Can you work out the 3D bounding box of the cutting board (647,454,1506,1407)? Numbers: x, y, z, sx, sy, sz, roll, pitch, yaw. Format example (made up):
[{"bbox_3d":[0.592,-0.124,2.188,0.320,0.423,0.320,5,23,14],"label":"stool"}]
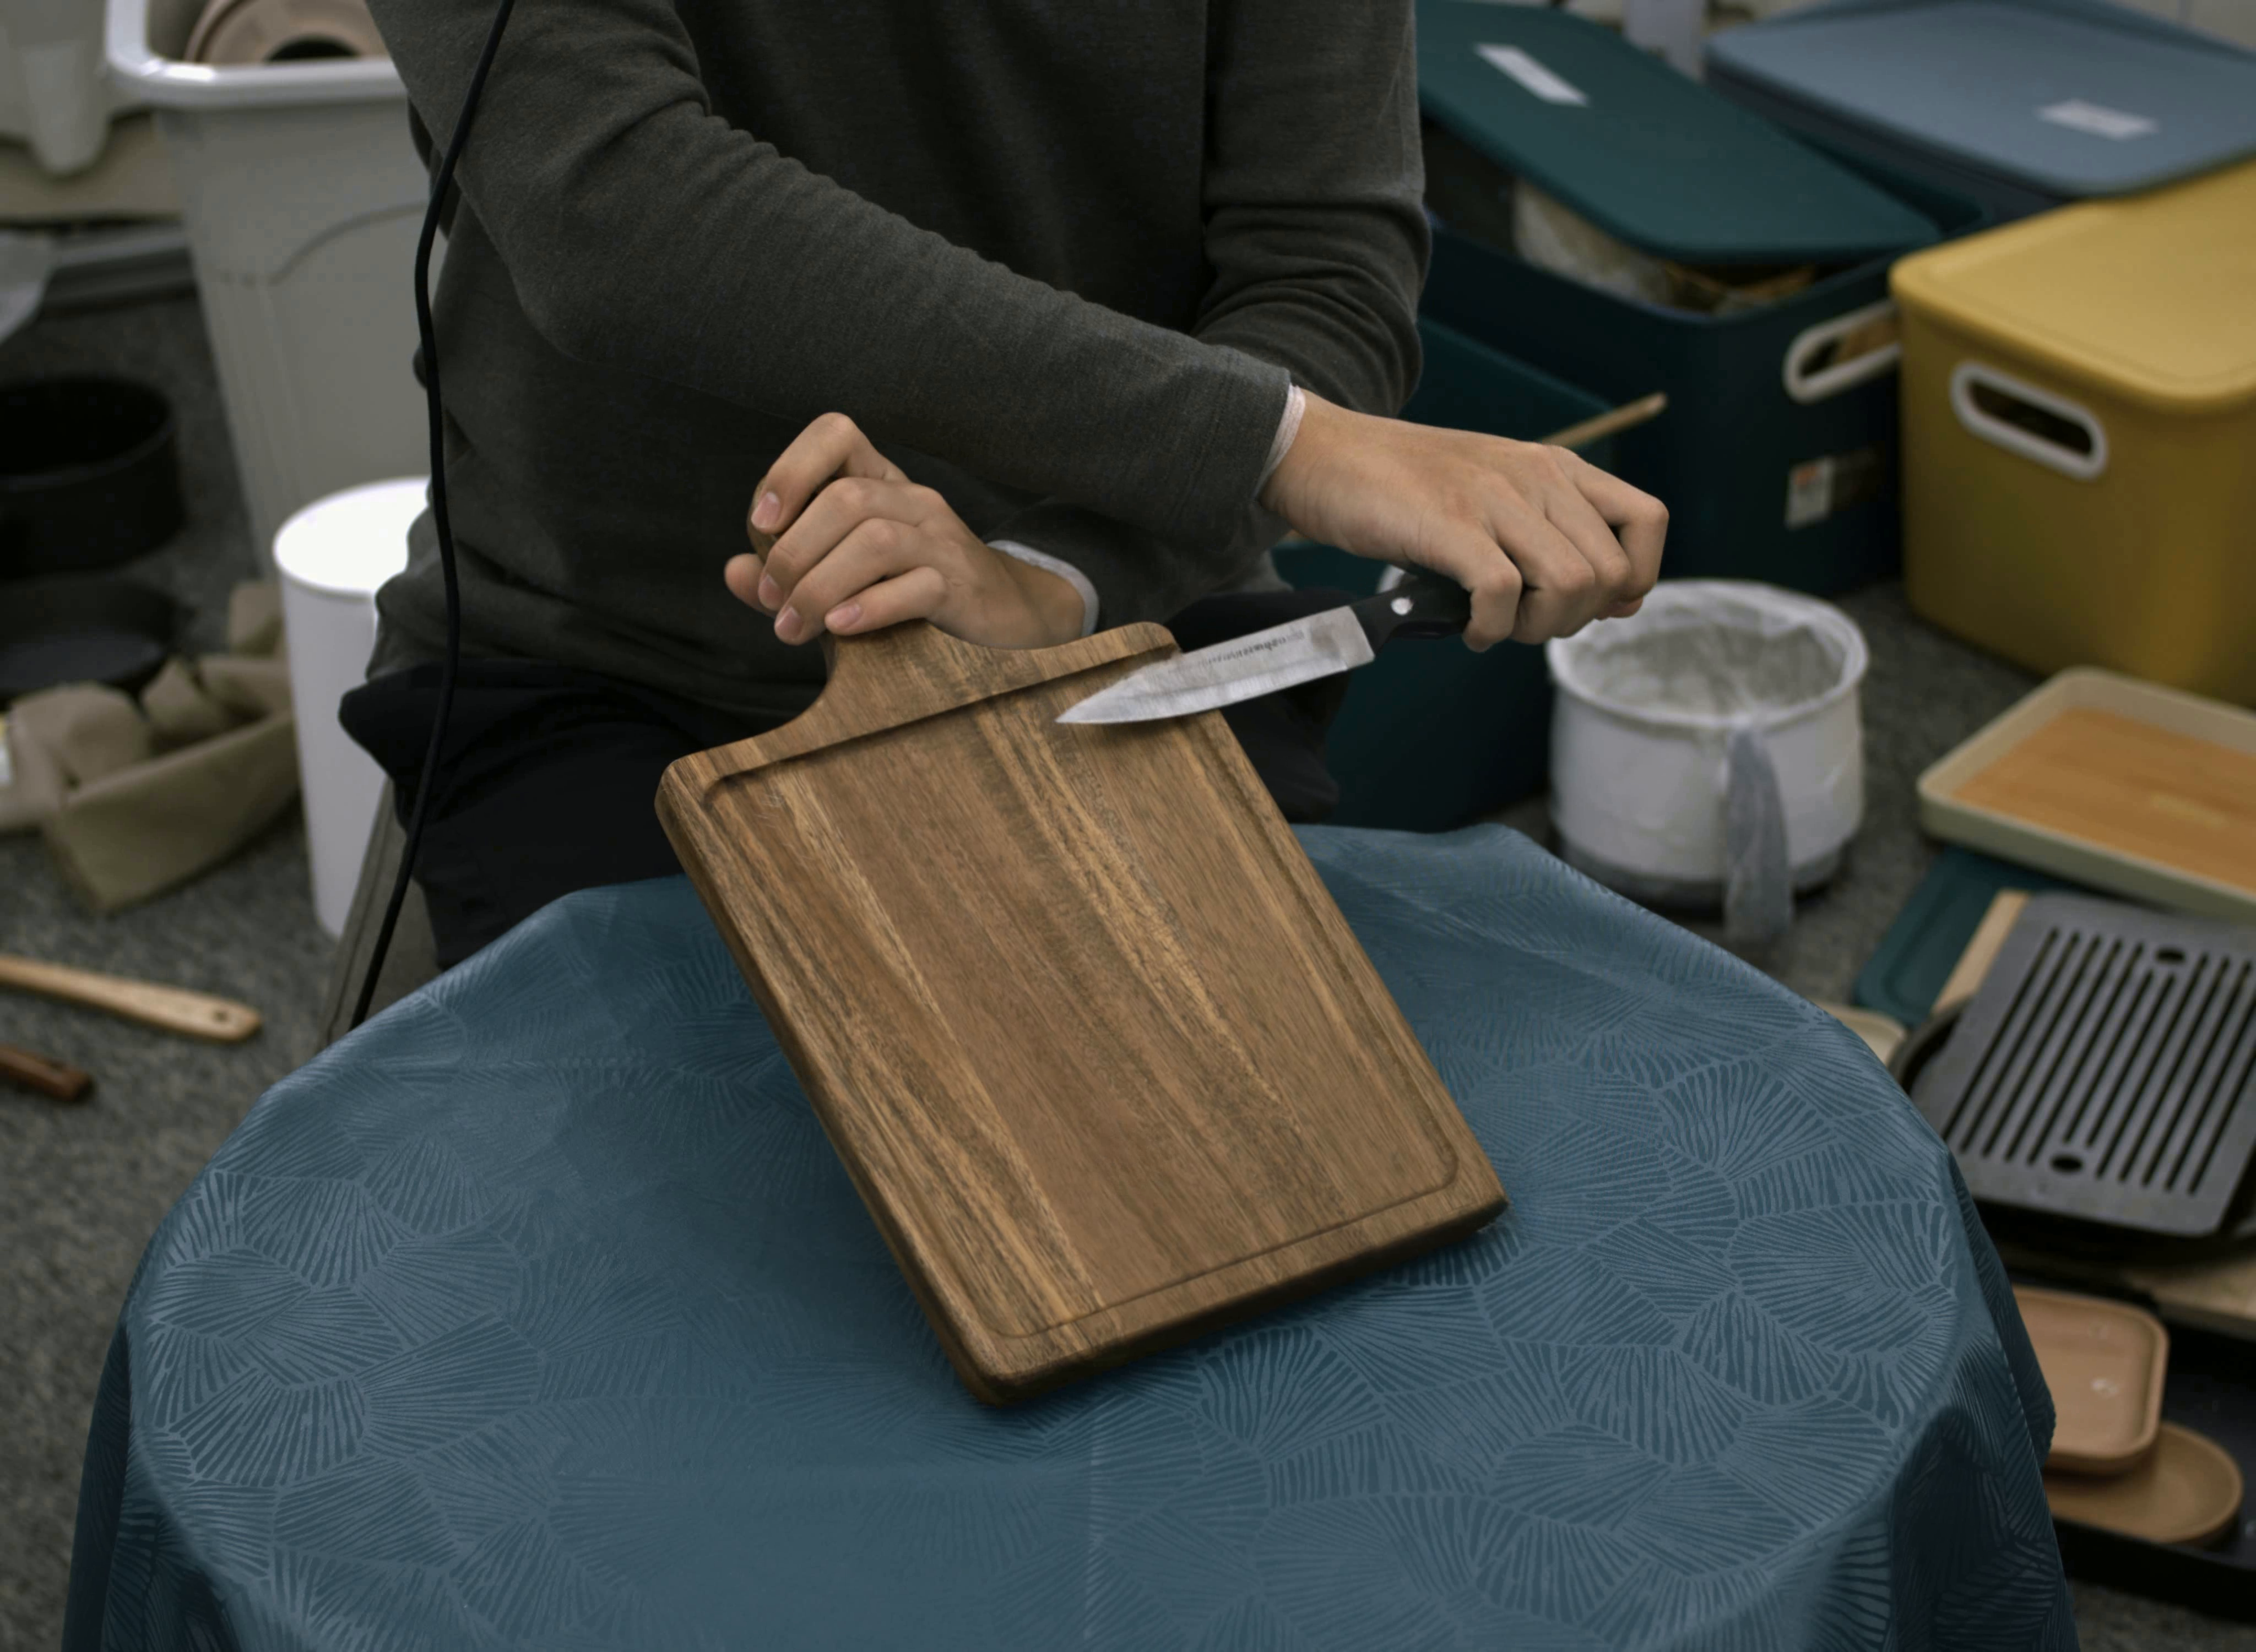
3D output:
[{"bbox_3d":[-0.040,0.015,1.860,0.202,0.023,0.356,-17,61,-26],"label":"cutting board"}]

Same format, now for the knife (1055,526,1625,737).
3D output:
[{"bbox_3d":[0.073,-0.067,1.939,0.240,0.016,0.025,-19,69,-30],"label":"knife"}]
